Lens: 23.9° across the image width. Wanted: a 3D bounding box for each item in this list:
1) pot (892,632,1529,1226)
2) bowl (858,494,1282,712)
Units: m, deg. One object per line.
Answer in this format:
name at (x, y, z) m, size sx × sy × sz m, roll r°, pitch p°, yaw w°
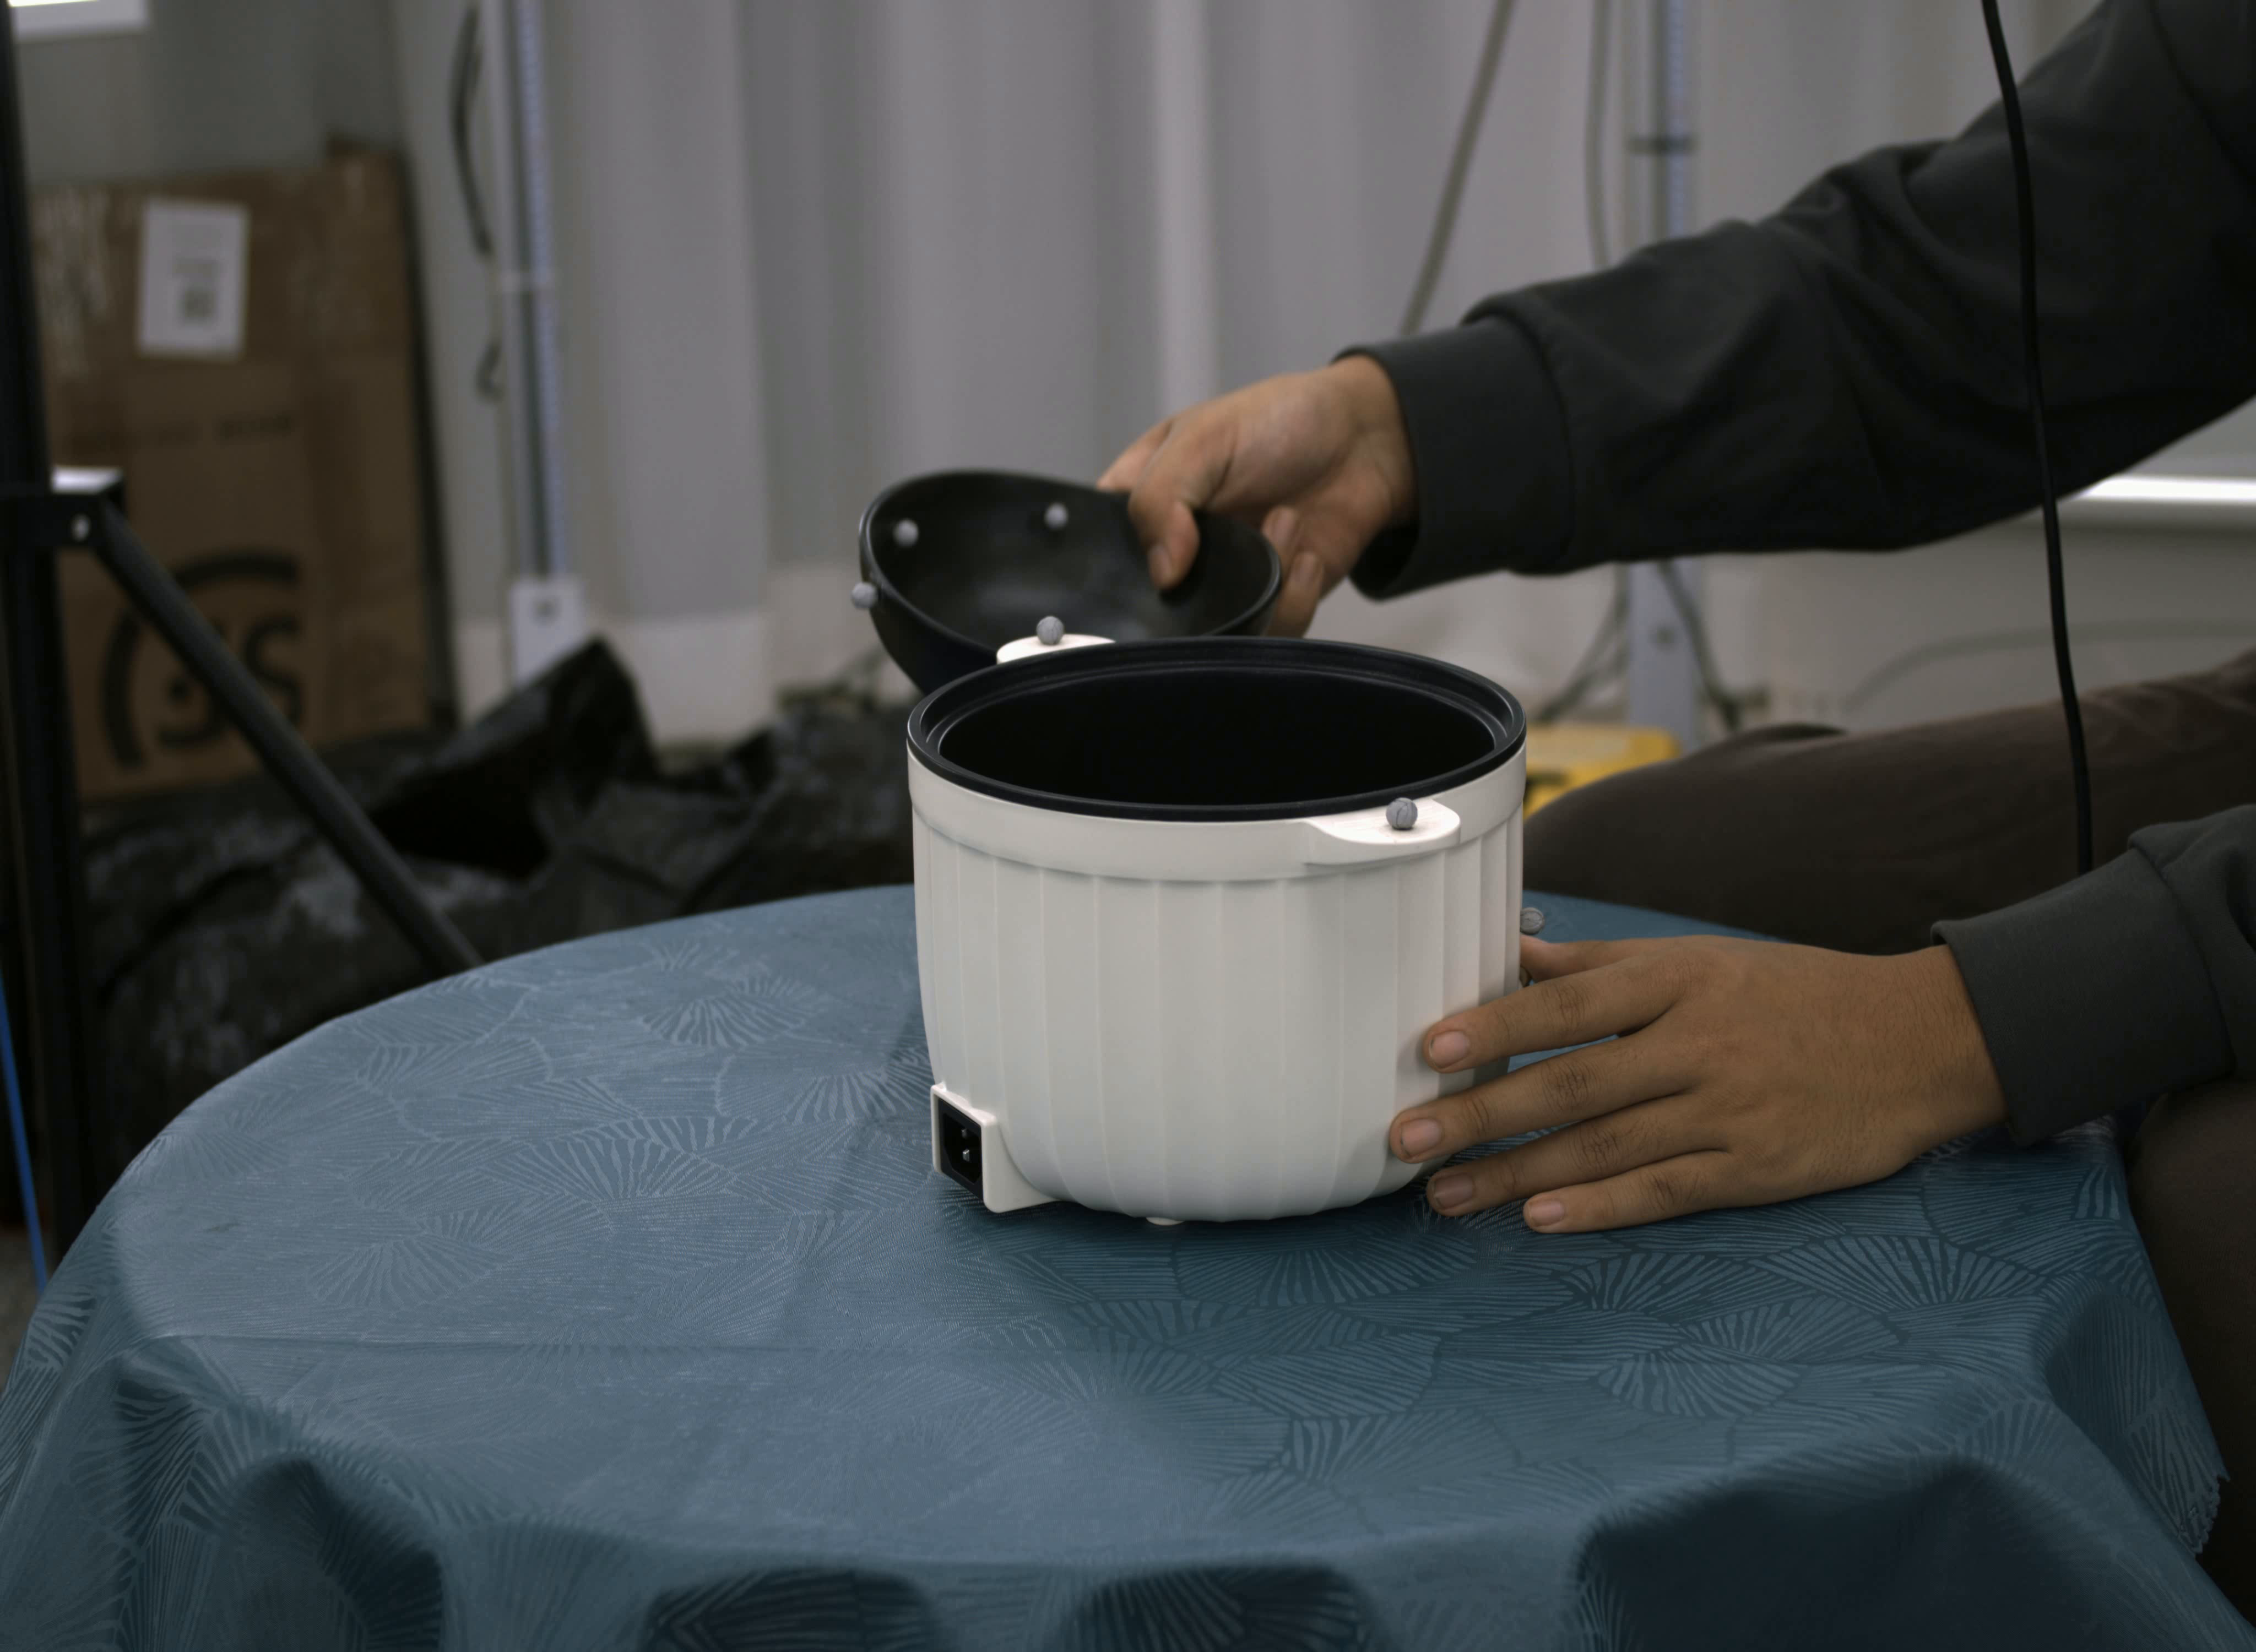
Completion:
pot at (0.030, 0.031, 1.569) m, size 0.187 × 0.142 × 0.245 m, roll -13°, pitch 21°, yaw -25°
bowl at (-0.021, -0.060, 1.738) m, size 0.138 × 0.067 × 0.169 m, roll 11°, pitch 23°, yaw 9°
